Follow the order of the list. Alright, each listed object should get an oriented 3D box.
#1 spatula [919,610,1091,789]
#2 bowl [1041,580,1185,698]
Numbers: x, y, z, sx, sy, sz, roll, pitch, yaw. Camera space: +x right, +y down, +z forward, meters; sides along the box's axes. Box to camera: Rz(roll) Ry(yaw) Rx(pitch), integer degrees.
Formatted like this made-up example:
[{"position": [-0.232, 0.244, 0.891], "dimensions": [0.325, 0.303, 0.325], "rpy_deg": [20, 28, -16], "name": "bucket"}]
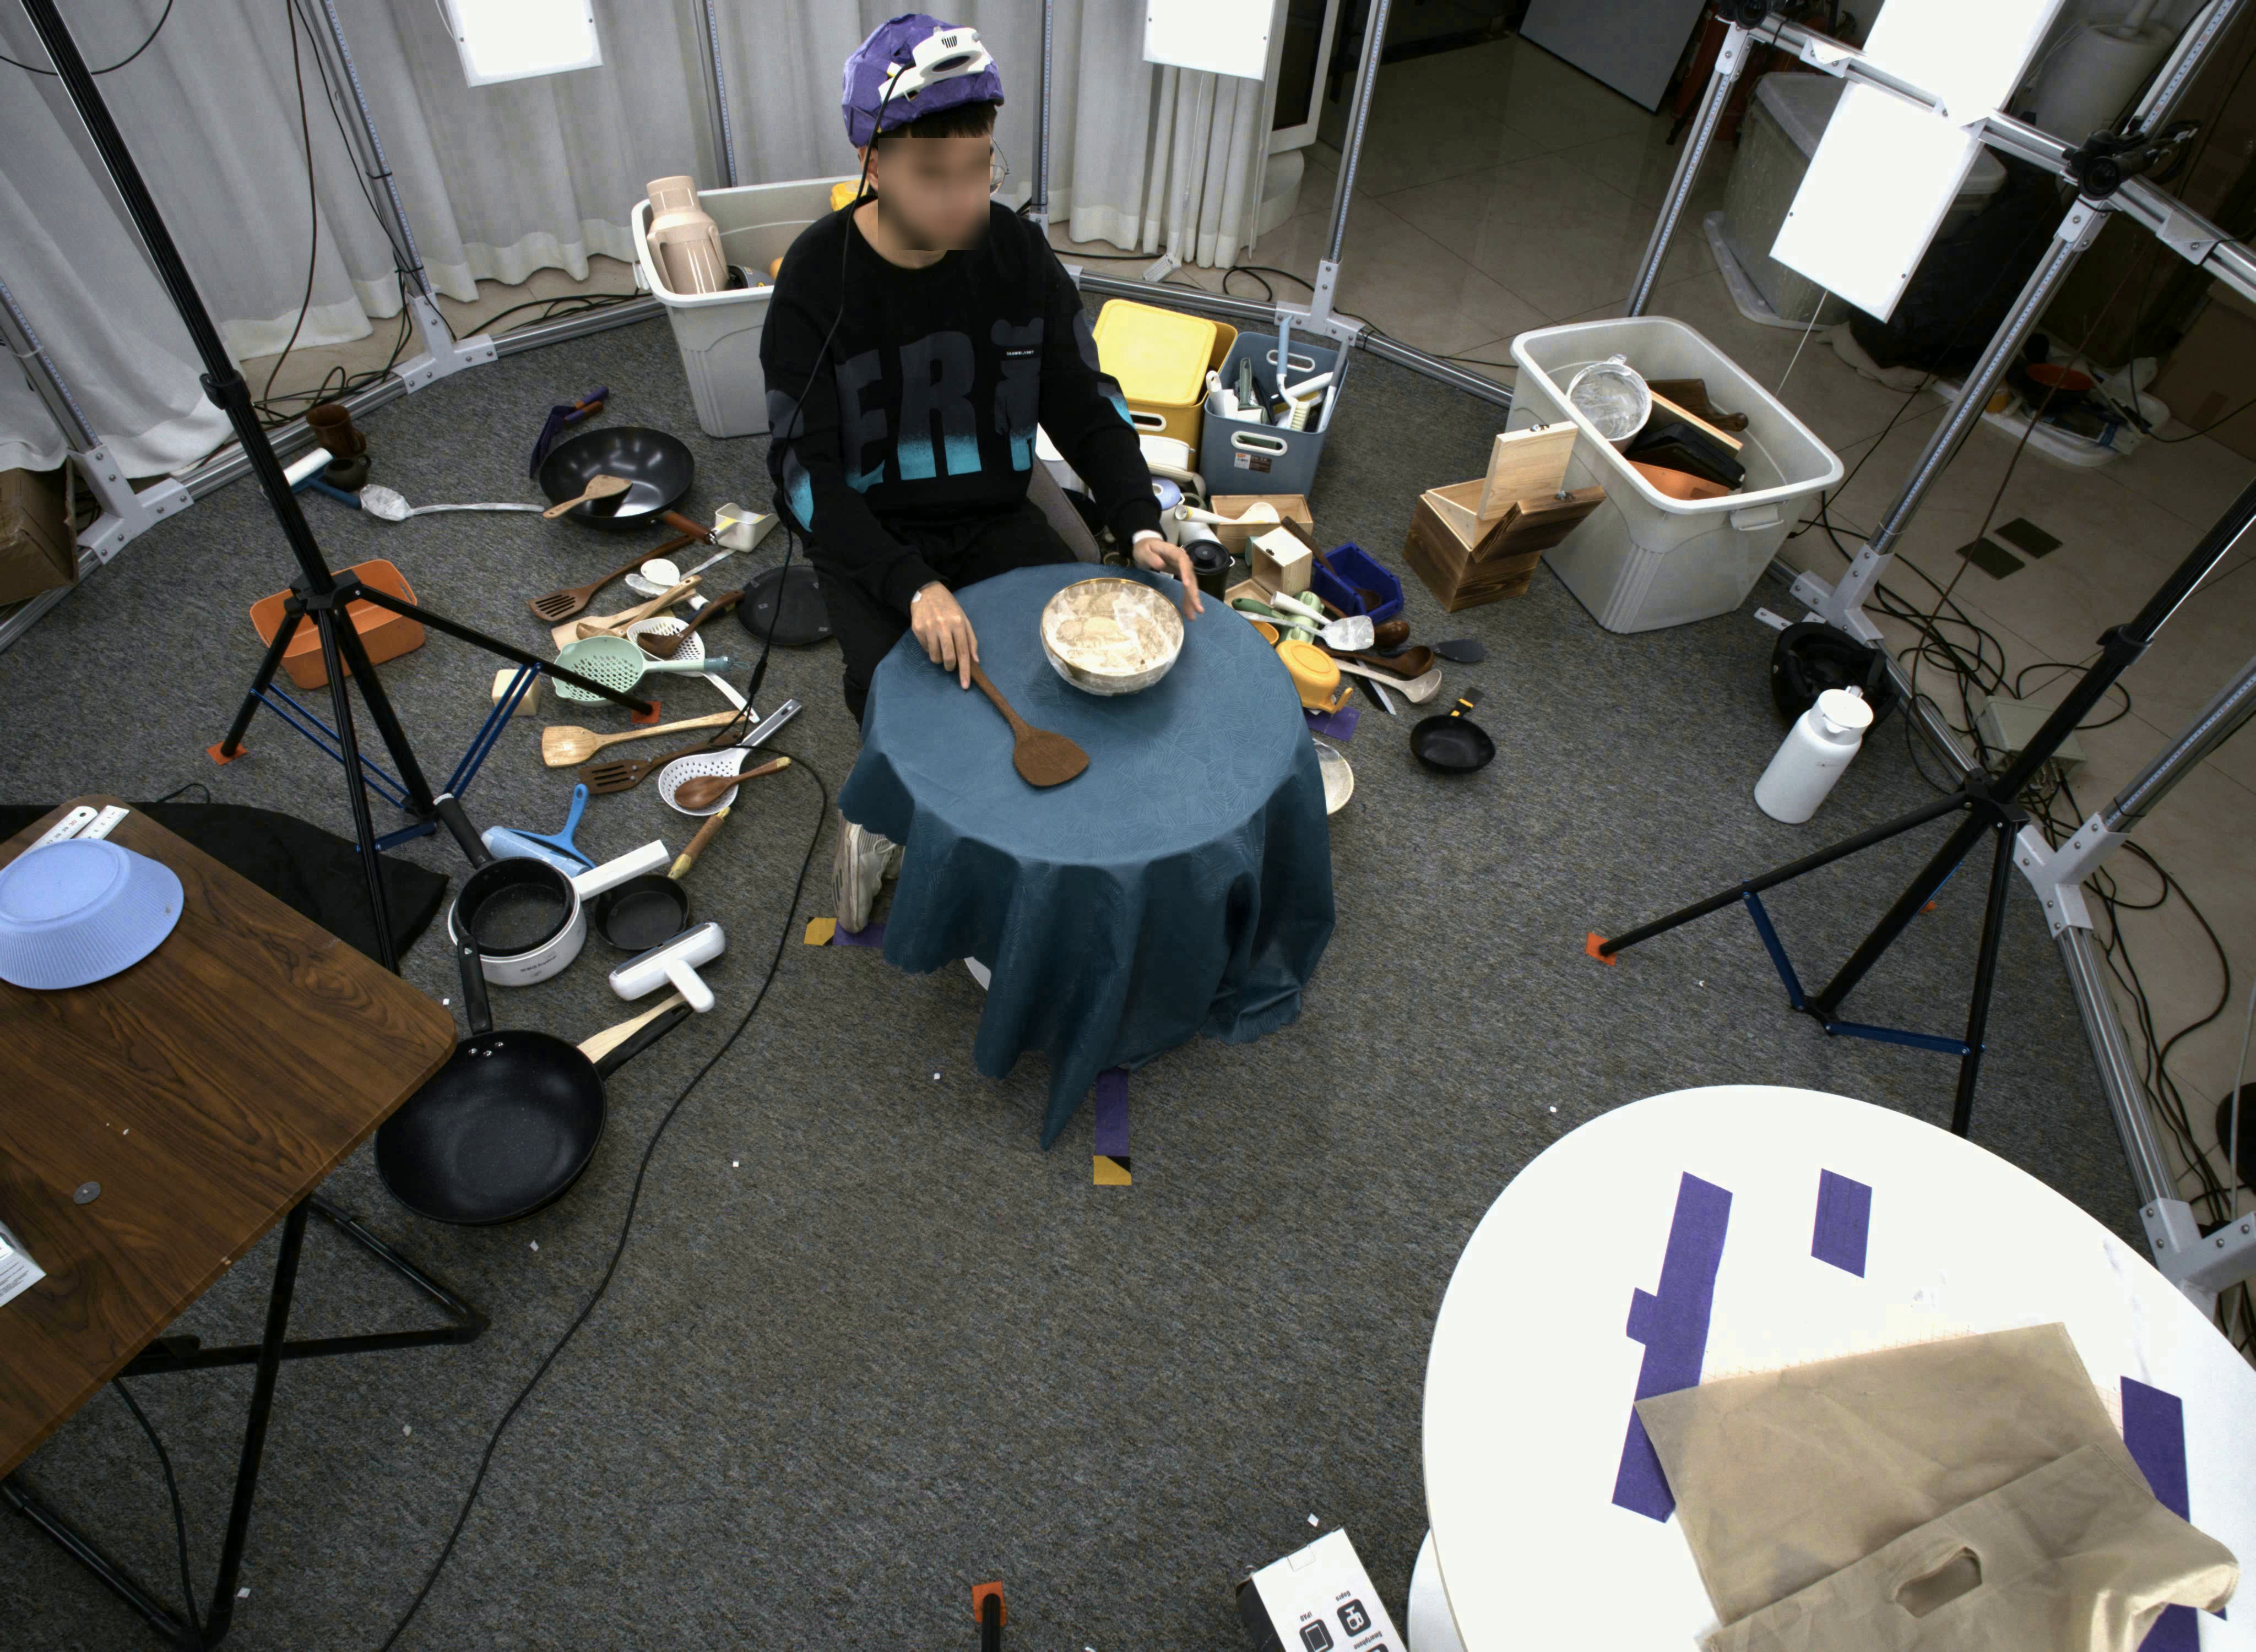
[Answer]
[{"position": [-0.191, -0.189, 1.818], "dimensions": [0.096, 0.015, 0.393], "rpy_deg": [-26, 59, -25], "name": "spatula"}, {"position": [-0.022, -0.255, 1.845], "dimensions": [0.214, 0.092, 0.220], "rpy_deg": [1, 49, -1], "name": "bowl"}]
